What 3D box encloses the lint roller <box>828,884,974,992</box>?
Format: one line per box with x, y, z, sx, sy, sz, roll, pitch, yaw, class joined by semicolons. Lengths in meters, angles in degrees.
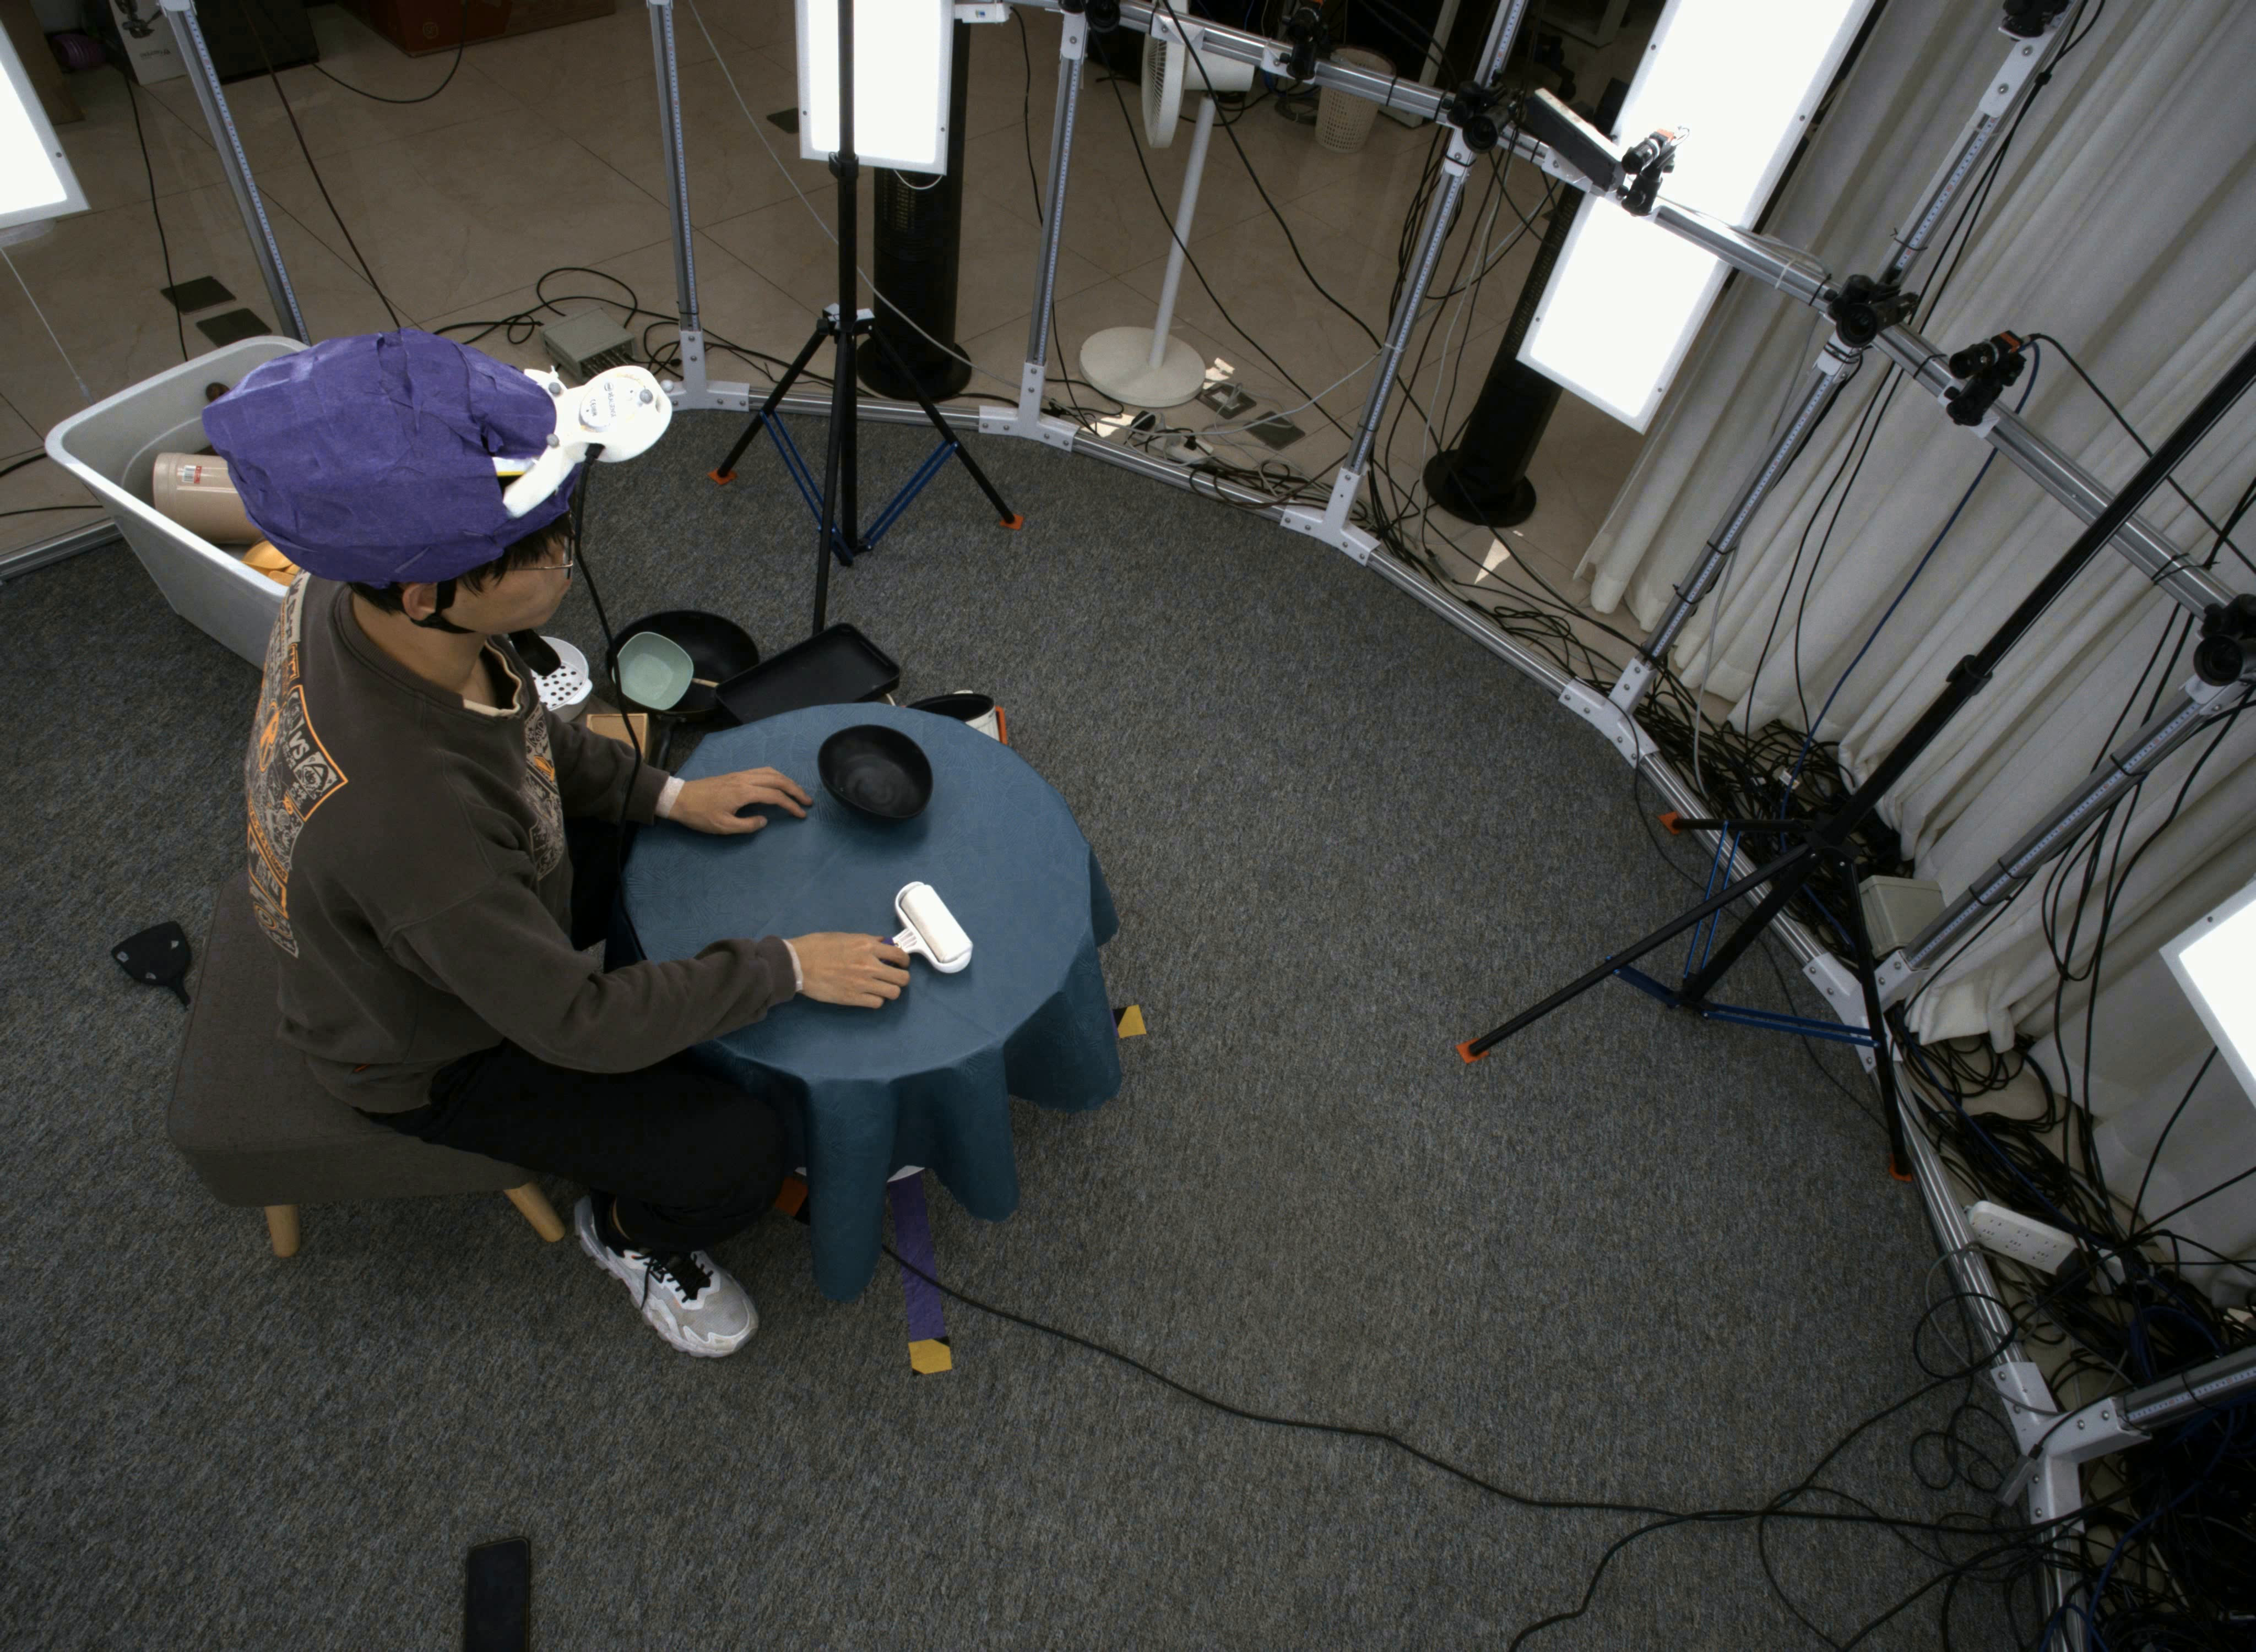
-0.296;0.149;1.629;0.182;0.051;0.130;-23;62;-30;lint roller

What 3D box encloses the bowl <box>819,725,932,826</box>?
-0.341;-0.059;1.762;0.167;0.068;0.137;38;56;13;bowl
